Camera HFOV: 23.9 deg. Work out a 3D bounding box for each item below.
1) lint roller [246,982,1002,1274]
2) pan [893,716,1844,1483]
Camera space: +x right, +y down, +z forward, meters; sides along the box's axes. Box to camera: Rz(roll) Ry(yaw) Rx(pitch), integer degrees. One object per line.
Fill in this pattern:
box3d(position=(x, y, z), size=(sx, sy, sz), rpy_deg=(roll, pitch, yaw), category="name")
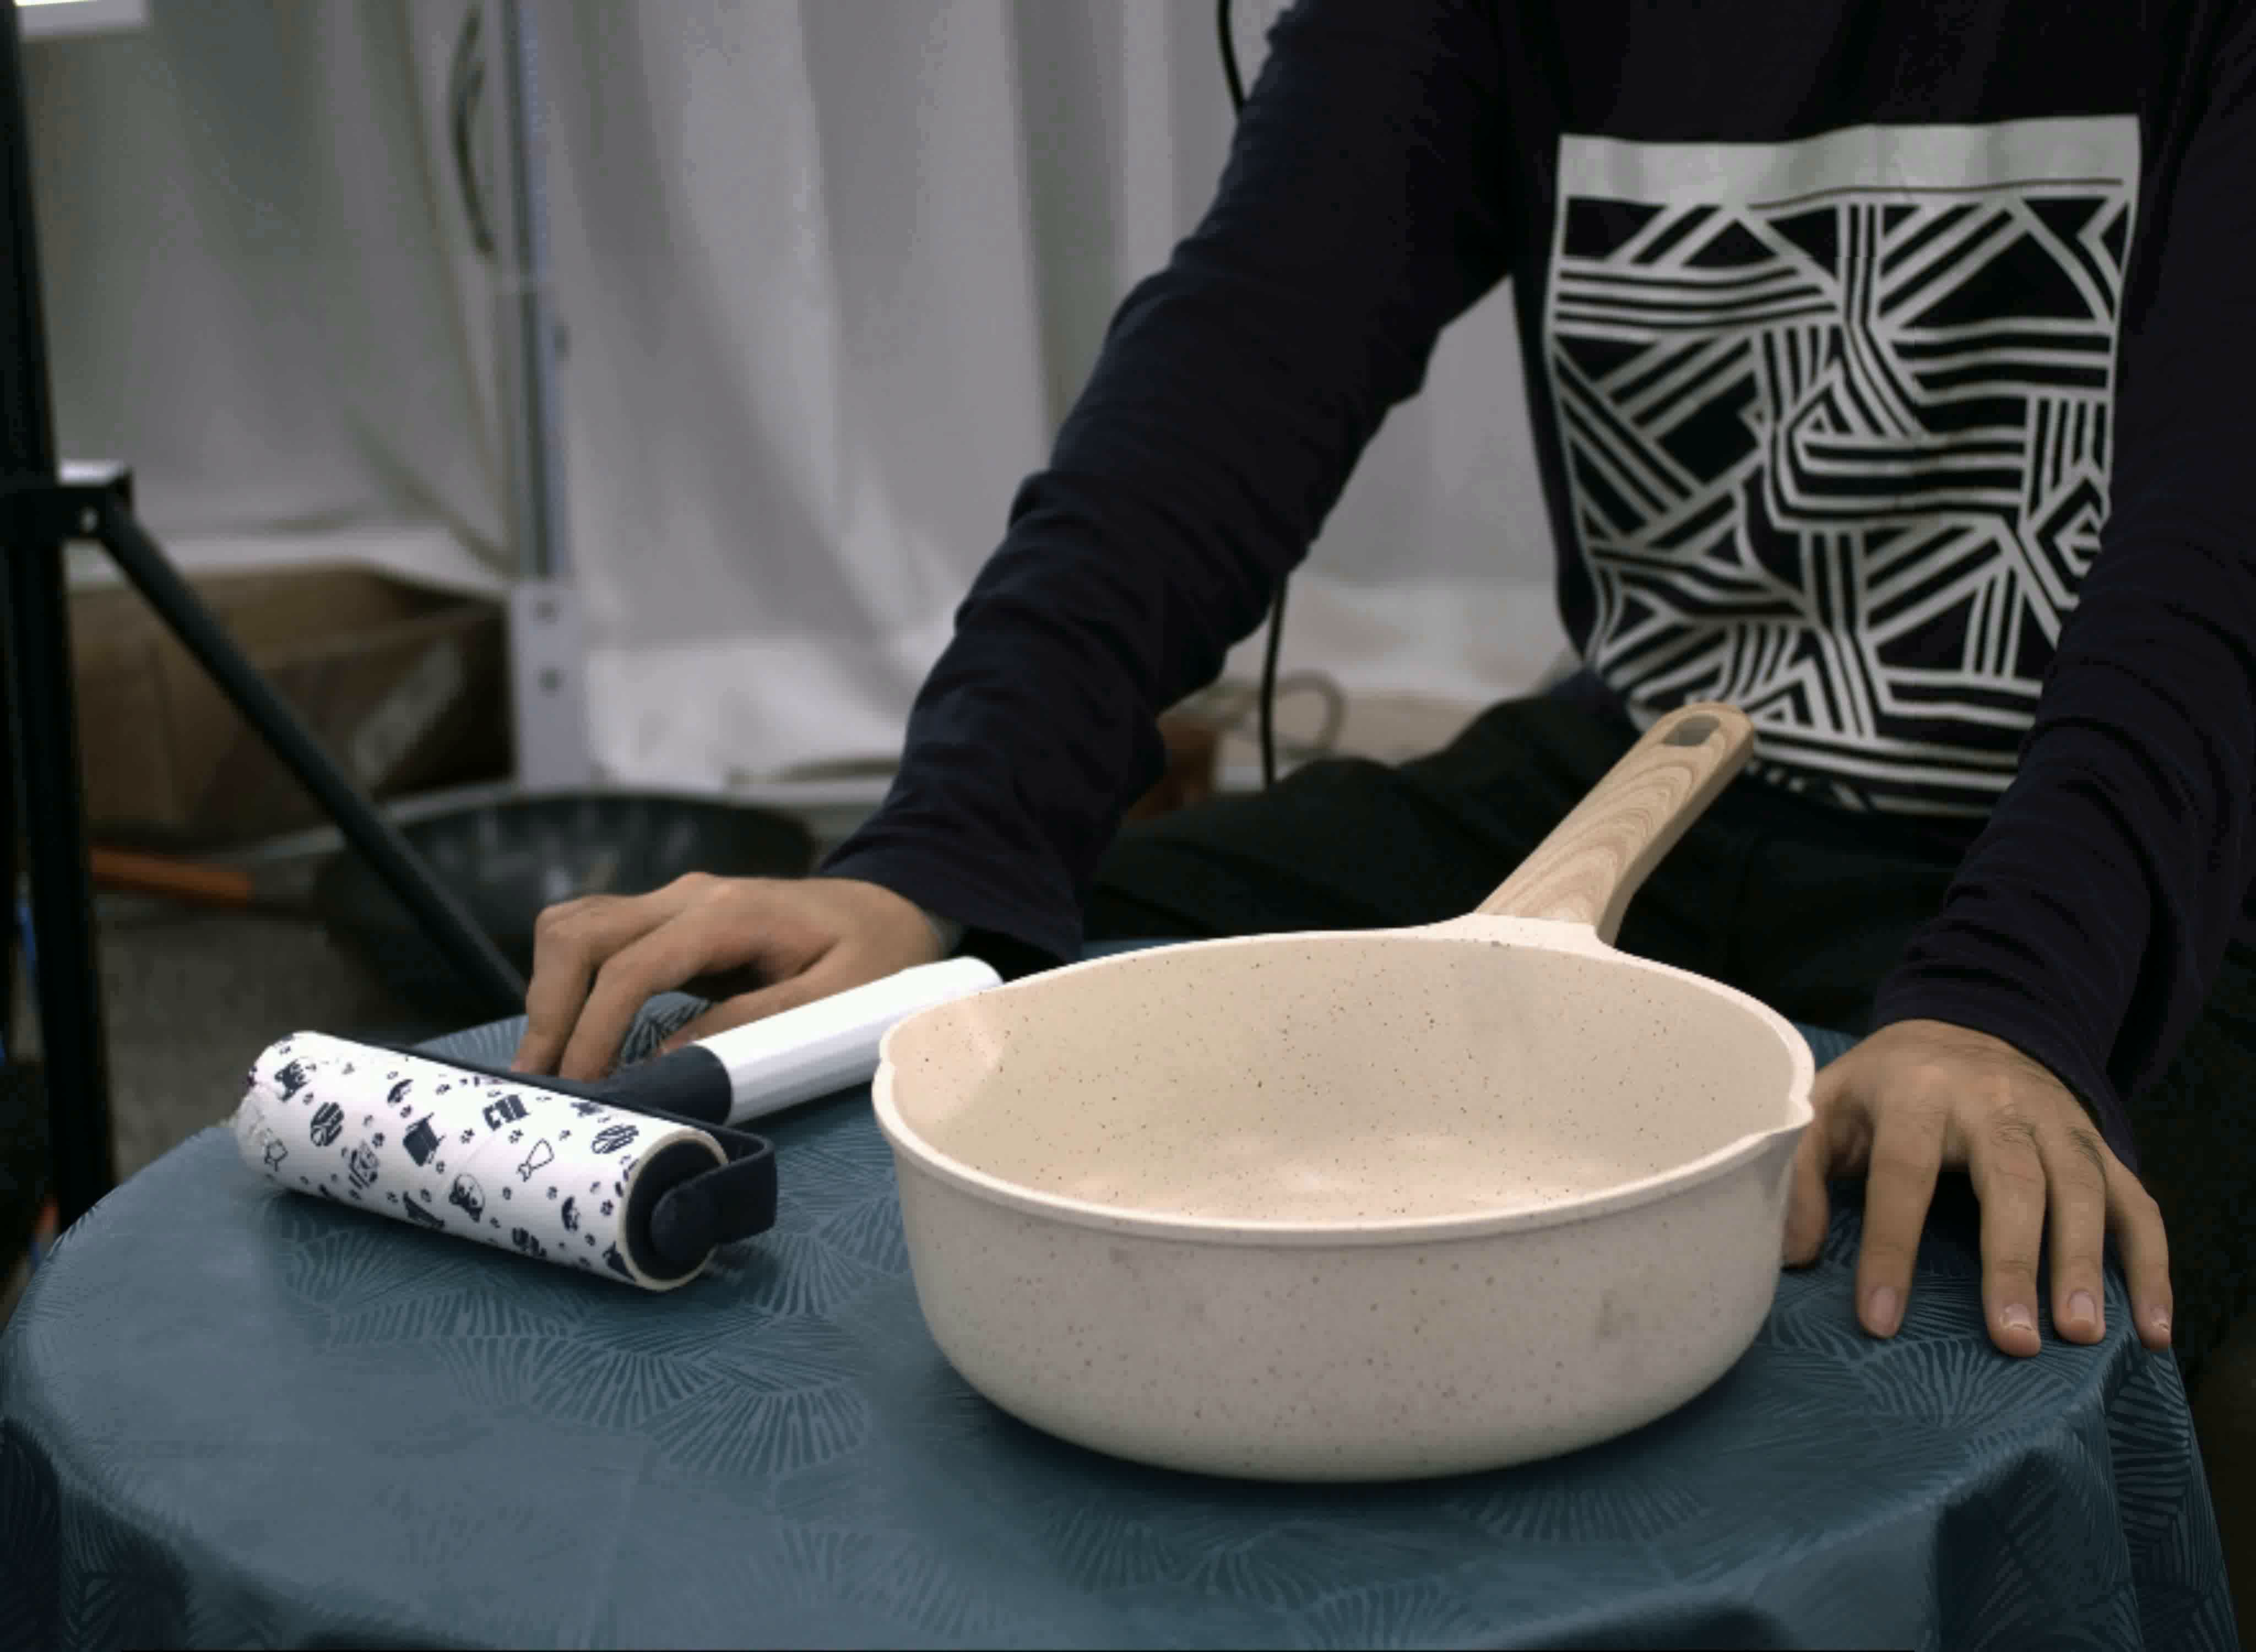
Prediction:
box3d(position=(-0.125, 0.075, 1.623), size=(0.180, 0.050, 0.241), rpy_deg=(9, 17, 39), category="lint roller")
box3d(position=(0.100, 0.071, 1.494), size=(0.267, 0.102, 0.428), rpy_deg=(4, 17, 24), category="pan")
